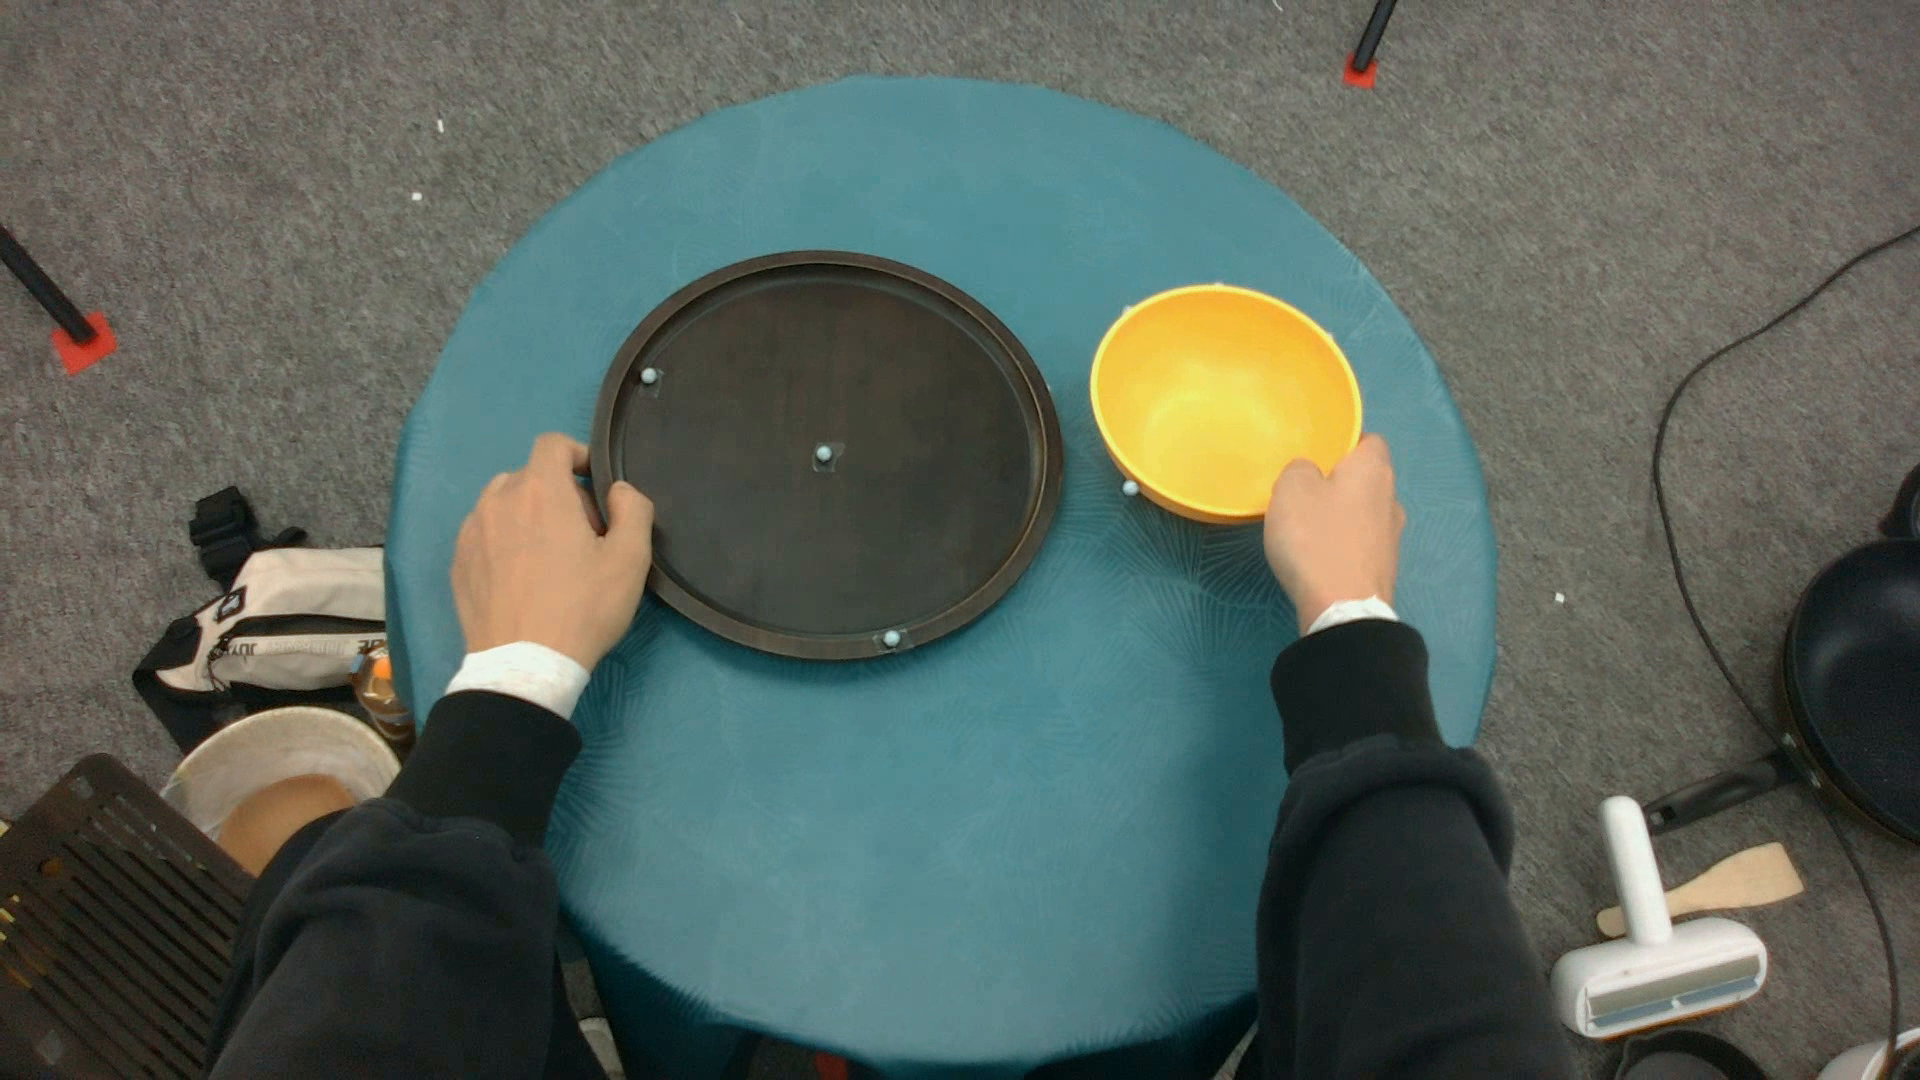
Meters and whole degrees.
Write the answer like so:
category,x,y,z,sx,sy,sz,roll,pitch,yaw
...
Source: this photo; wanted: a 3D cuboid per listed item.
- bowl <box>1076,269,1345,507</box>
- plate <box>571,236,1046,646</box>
category,x,y,z,sx,sy,sz,roll,pitch,yaw
bowl,0.133,-0.074,0.760,0.145,0.060,0.146,1,65,-3
plate,-0.079,-0.059,0.743,0.255,0.029,0.255,4,64,-8
